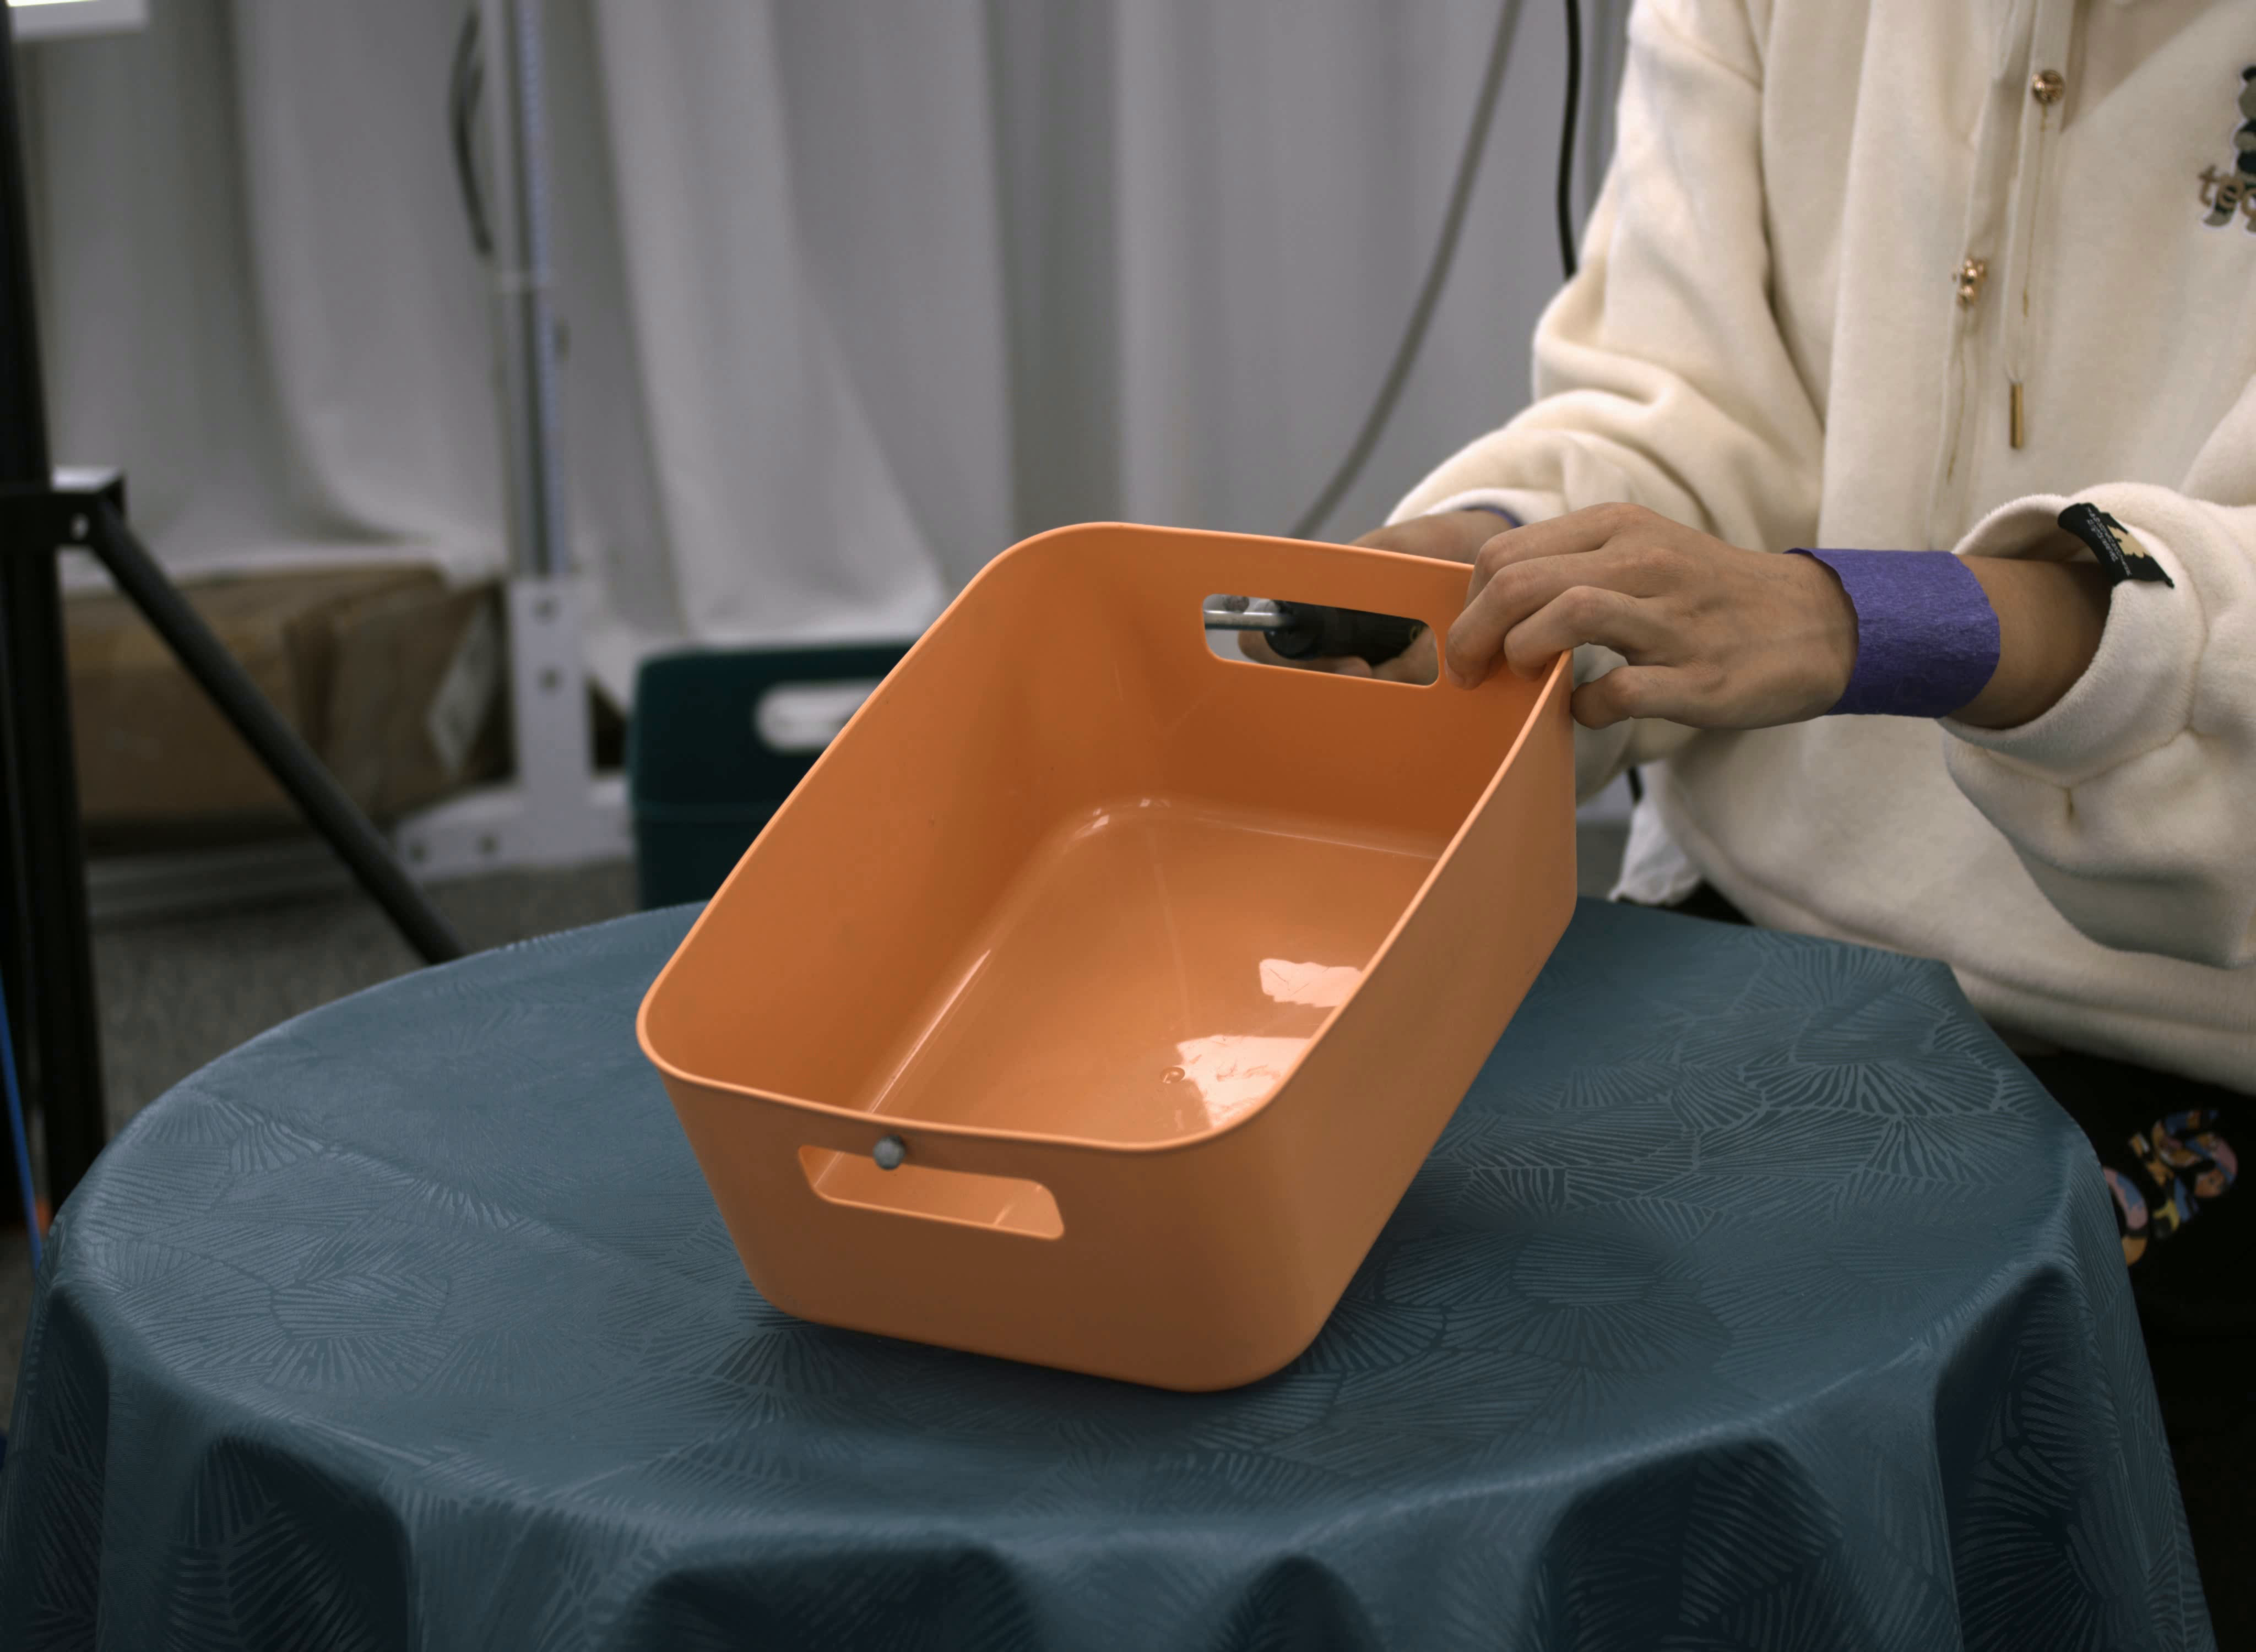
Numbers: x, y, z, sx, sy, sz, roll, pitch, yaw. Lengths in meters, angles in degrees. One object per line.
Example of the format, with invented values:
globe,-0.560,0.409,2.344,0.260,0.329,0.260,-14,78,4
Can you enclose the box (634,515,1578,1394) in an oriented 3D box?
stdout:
box,0.007,0.034,1.482,0.203,0.101,0.271,6,40,28
